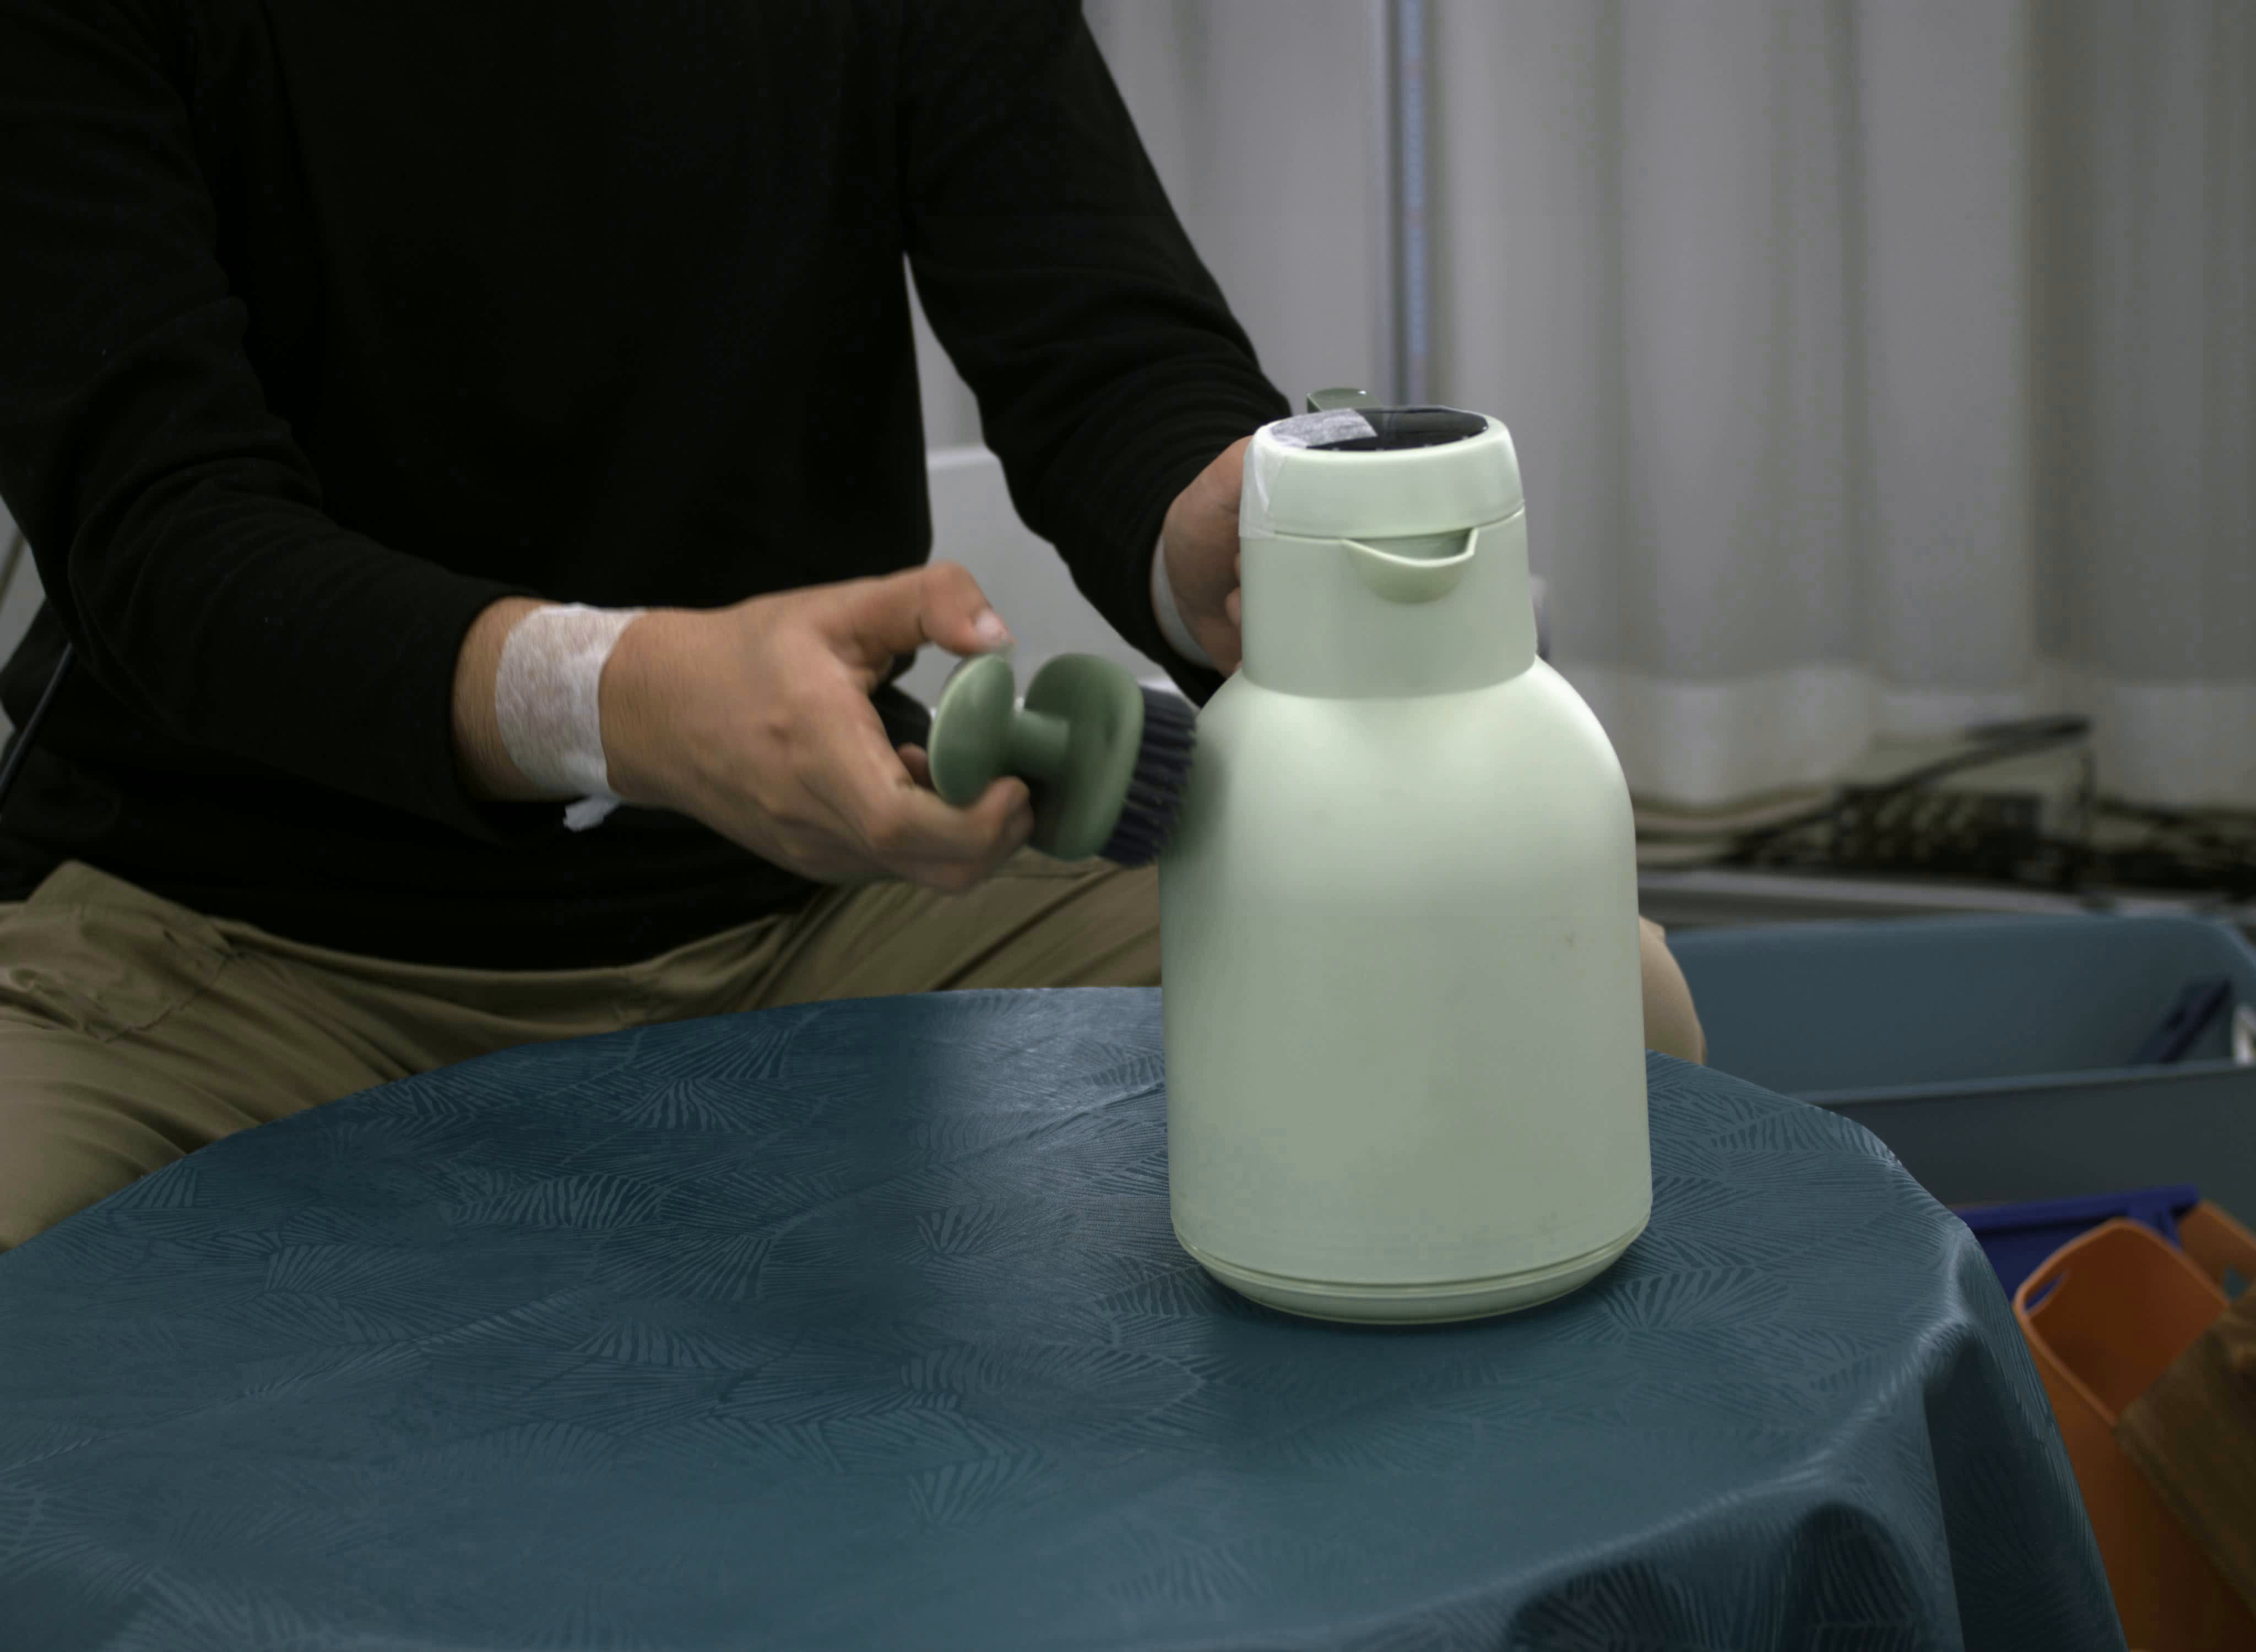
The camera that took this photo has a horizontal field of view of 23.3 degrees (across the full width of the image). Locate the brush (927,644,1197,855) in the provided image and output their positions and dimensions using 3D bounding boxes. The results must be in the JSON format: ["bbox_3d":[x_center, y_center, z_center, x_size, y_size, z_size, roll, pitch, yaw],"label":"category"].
[{"bbox_3d":[-0.020,-0.024,1.598,0.075,0.060,0.123,14,1,-2],"label":"brush"}]

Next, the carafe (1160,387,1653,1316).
[{"bbox_3d":[0.077,0.002,1.626,0.143,0.256,0.188,-5,11,-8],"label":"carafe"}]
